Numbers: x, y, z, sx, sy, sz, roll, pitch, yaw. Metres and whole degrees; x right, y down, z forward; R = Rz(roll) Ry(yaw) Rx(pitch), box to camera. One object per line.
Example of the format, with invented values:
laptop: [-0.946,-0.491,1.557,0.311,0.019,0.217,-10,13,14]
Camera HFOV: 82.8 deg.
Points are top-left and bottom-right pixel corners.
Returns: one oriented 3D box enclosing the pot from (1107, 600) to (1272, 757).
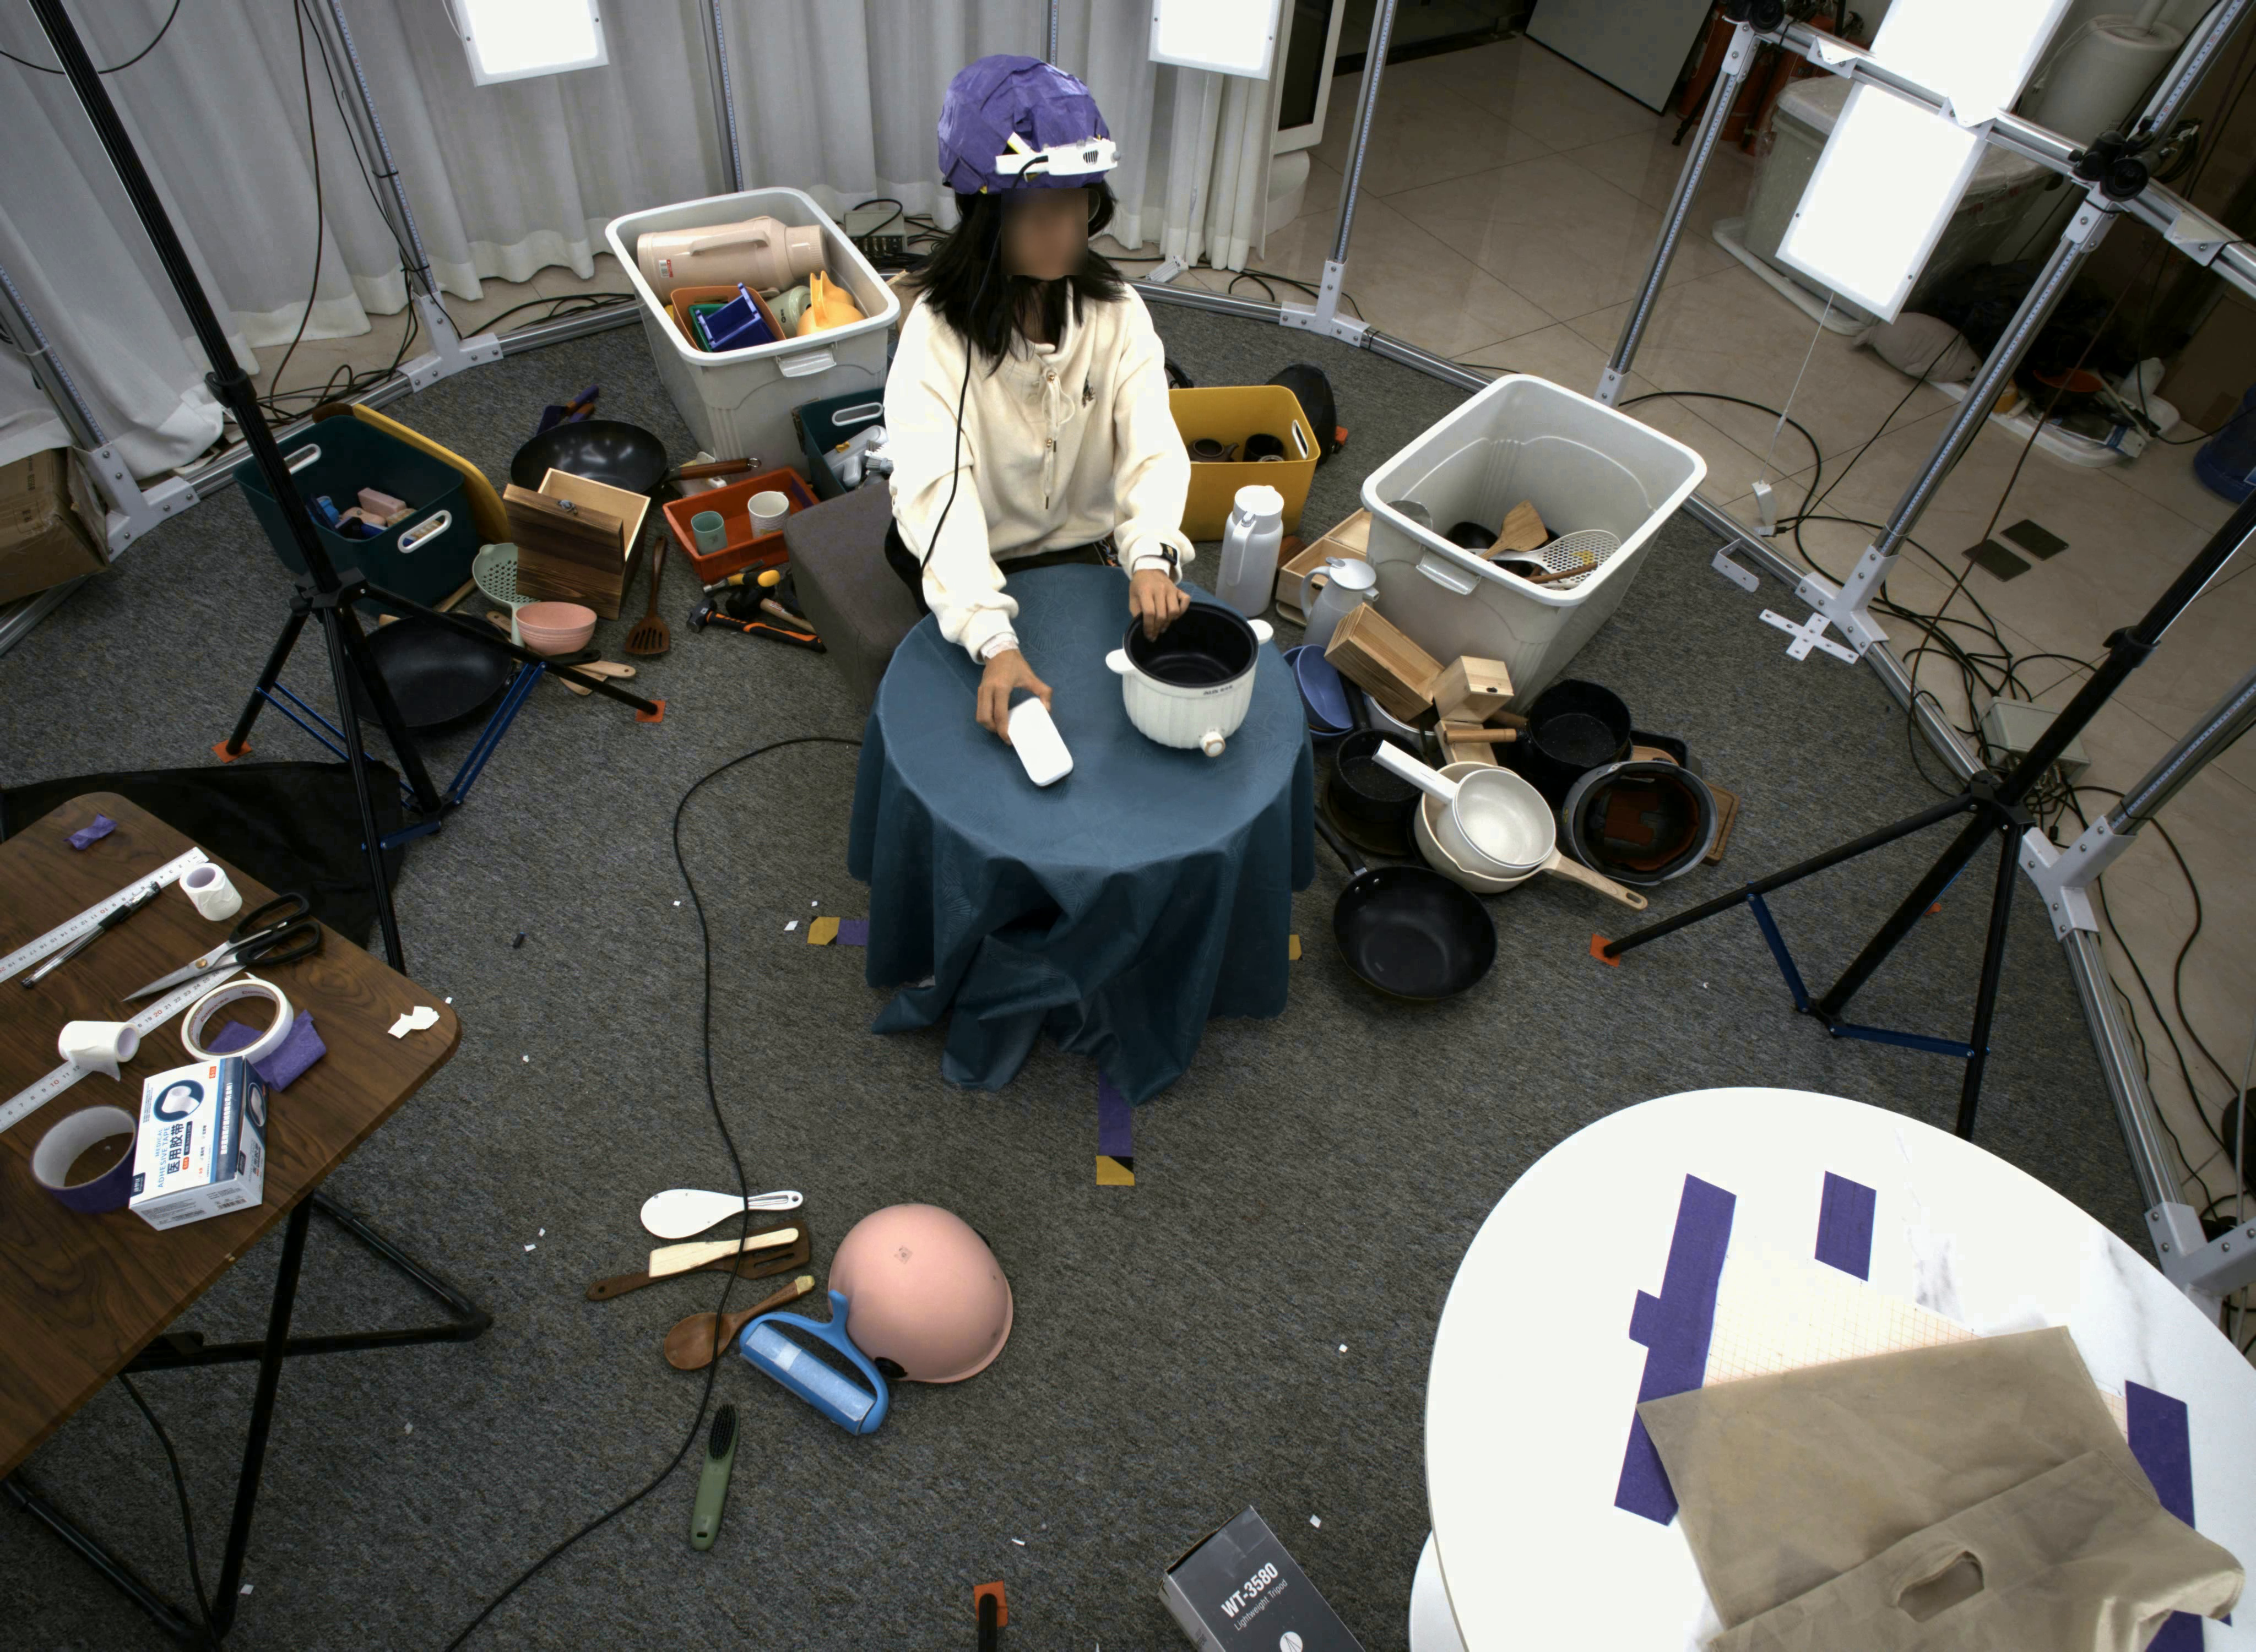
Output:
pot: [0.085,-0.196,1.753,0.240,0.139,0.195,-16,47,-16]

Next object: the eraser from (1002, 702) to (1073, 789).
eraser: [-0.121,-0.111,1.726,0.063,0.034,0.134,-25,57,-4]
